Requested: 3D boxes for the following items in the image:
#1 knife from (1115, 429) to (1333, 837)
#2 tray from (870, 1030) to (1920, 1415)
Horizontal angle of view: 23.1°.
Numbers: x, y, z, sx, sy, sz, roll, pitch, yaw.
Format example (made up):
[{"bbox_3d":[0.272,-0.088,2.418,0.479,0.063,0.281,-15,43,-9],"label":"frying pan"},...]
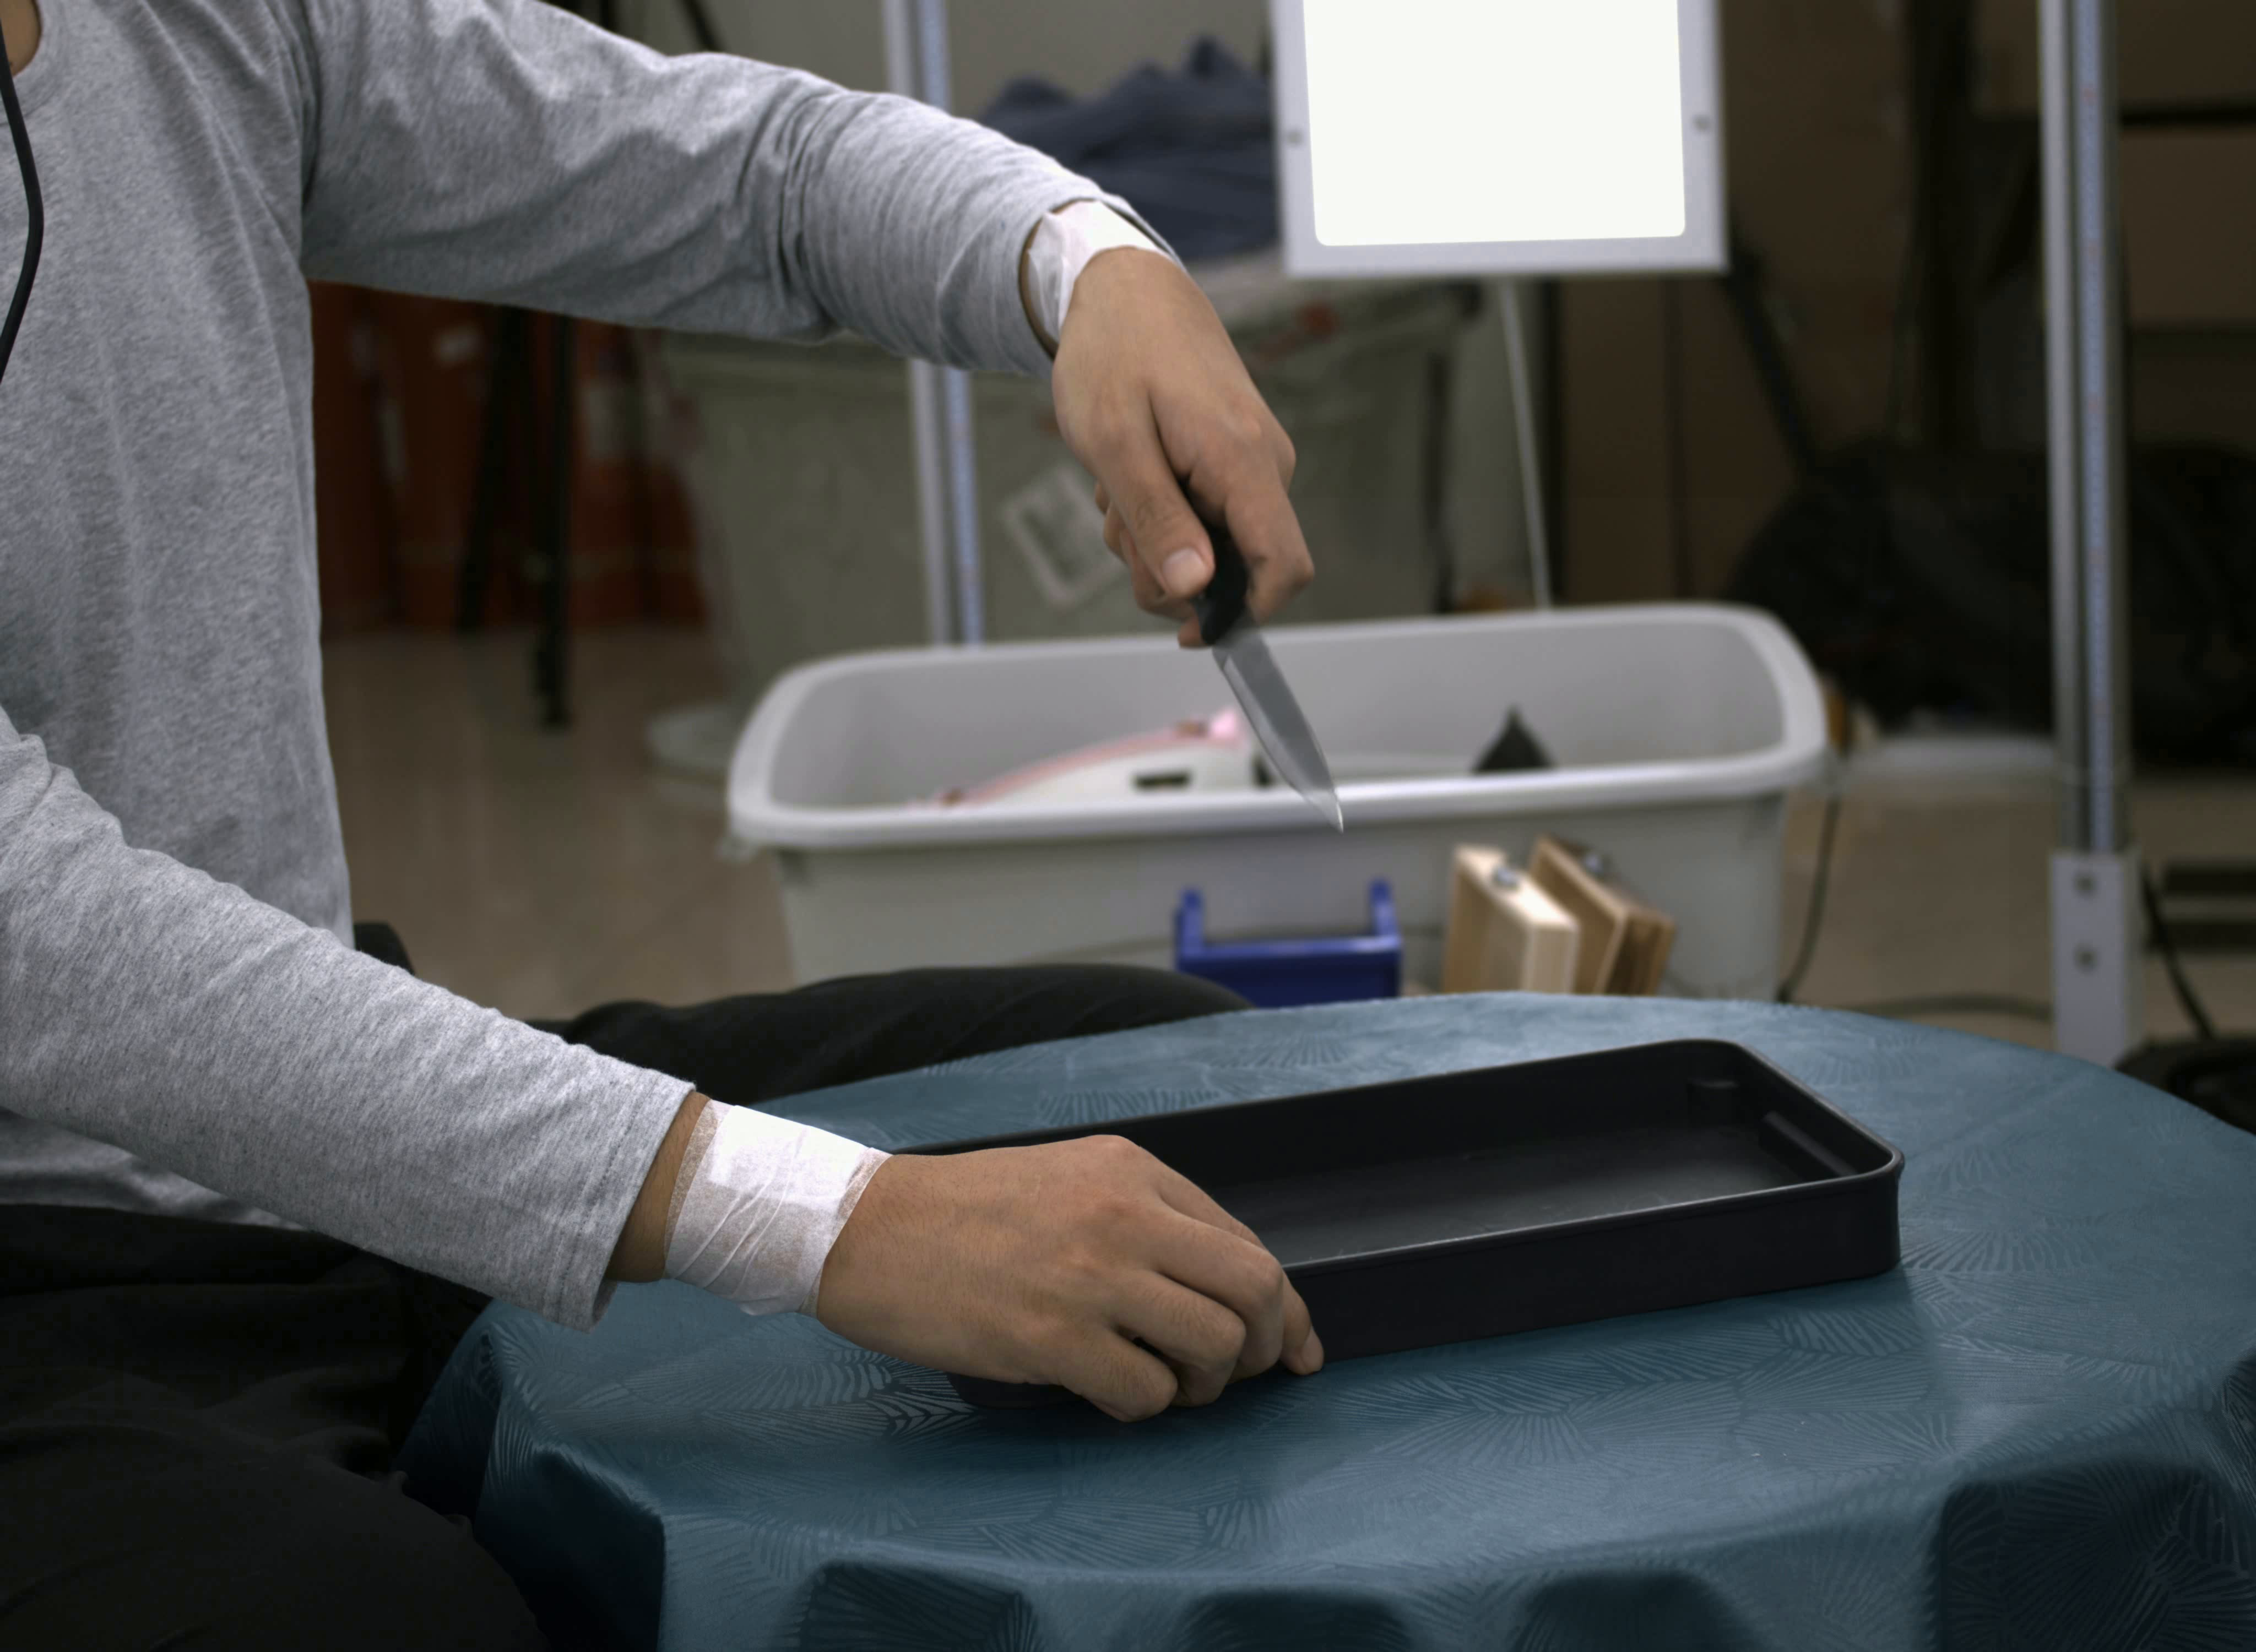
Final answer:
[{"bbox_3d":[0.035,-0.068,1.825,0.016,0.025,0.239,14,29,-27],"label":"knife"},{"bbox_3d":[0.086,0.126,1.801,0.314,0.037,0.186,-9,14,-12],"label":"tray"}]
